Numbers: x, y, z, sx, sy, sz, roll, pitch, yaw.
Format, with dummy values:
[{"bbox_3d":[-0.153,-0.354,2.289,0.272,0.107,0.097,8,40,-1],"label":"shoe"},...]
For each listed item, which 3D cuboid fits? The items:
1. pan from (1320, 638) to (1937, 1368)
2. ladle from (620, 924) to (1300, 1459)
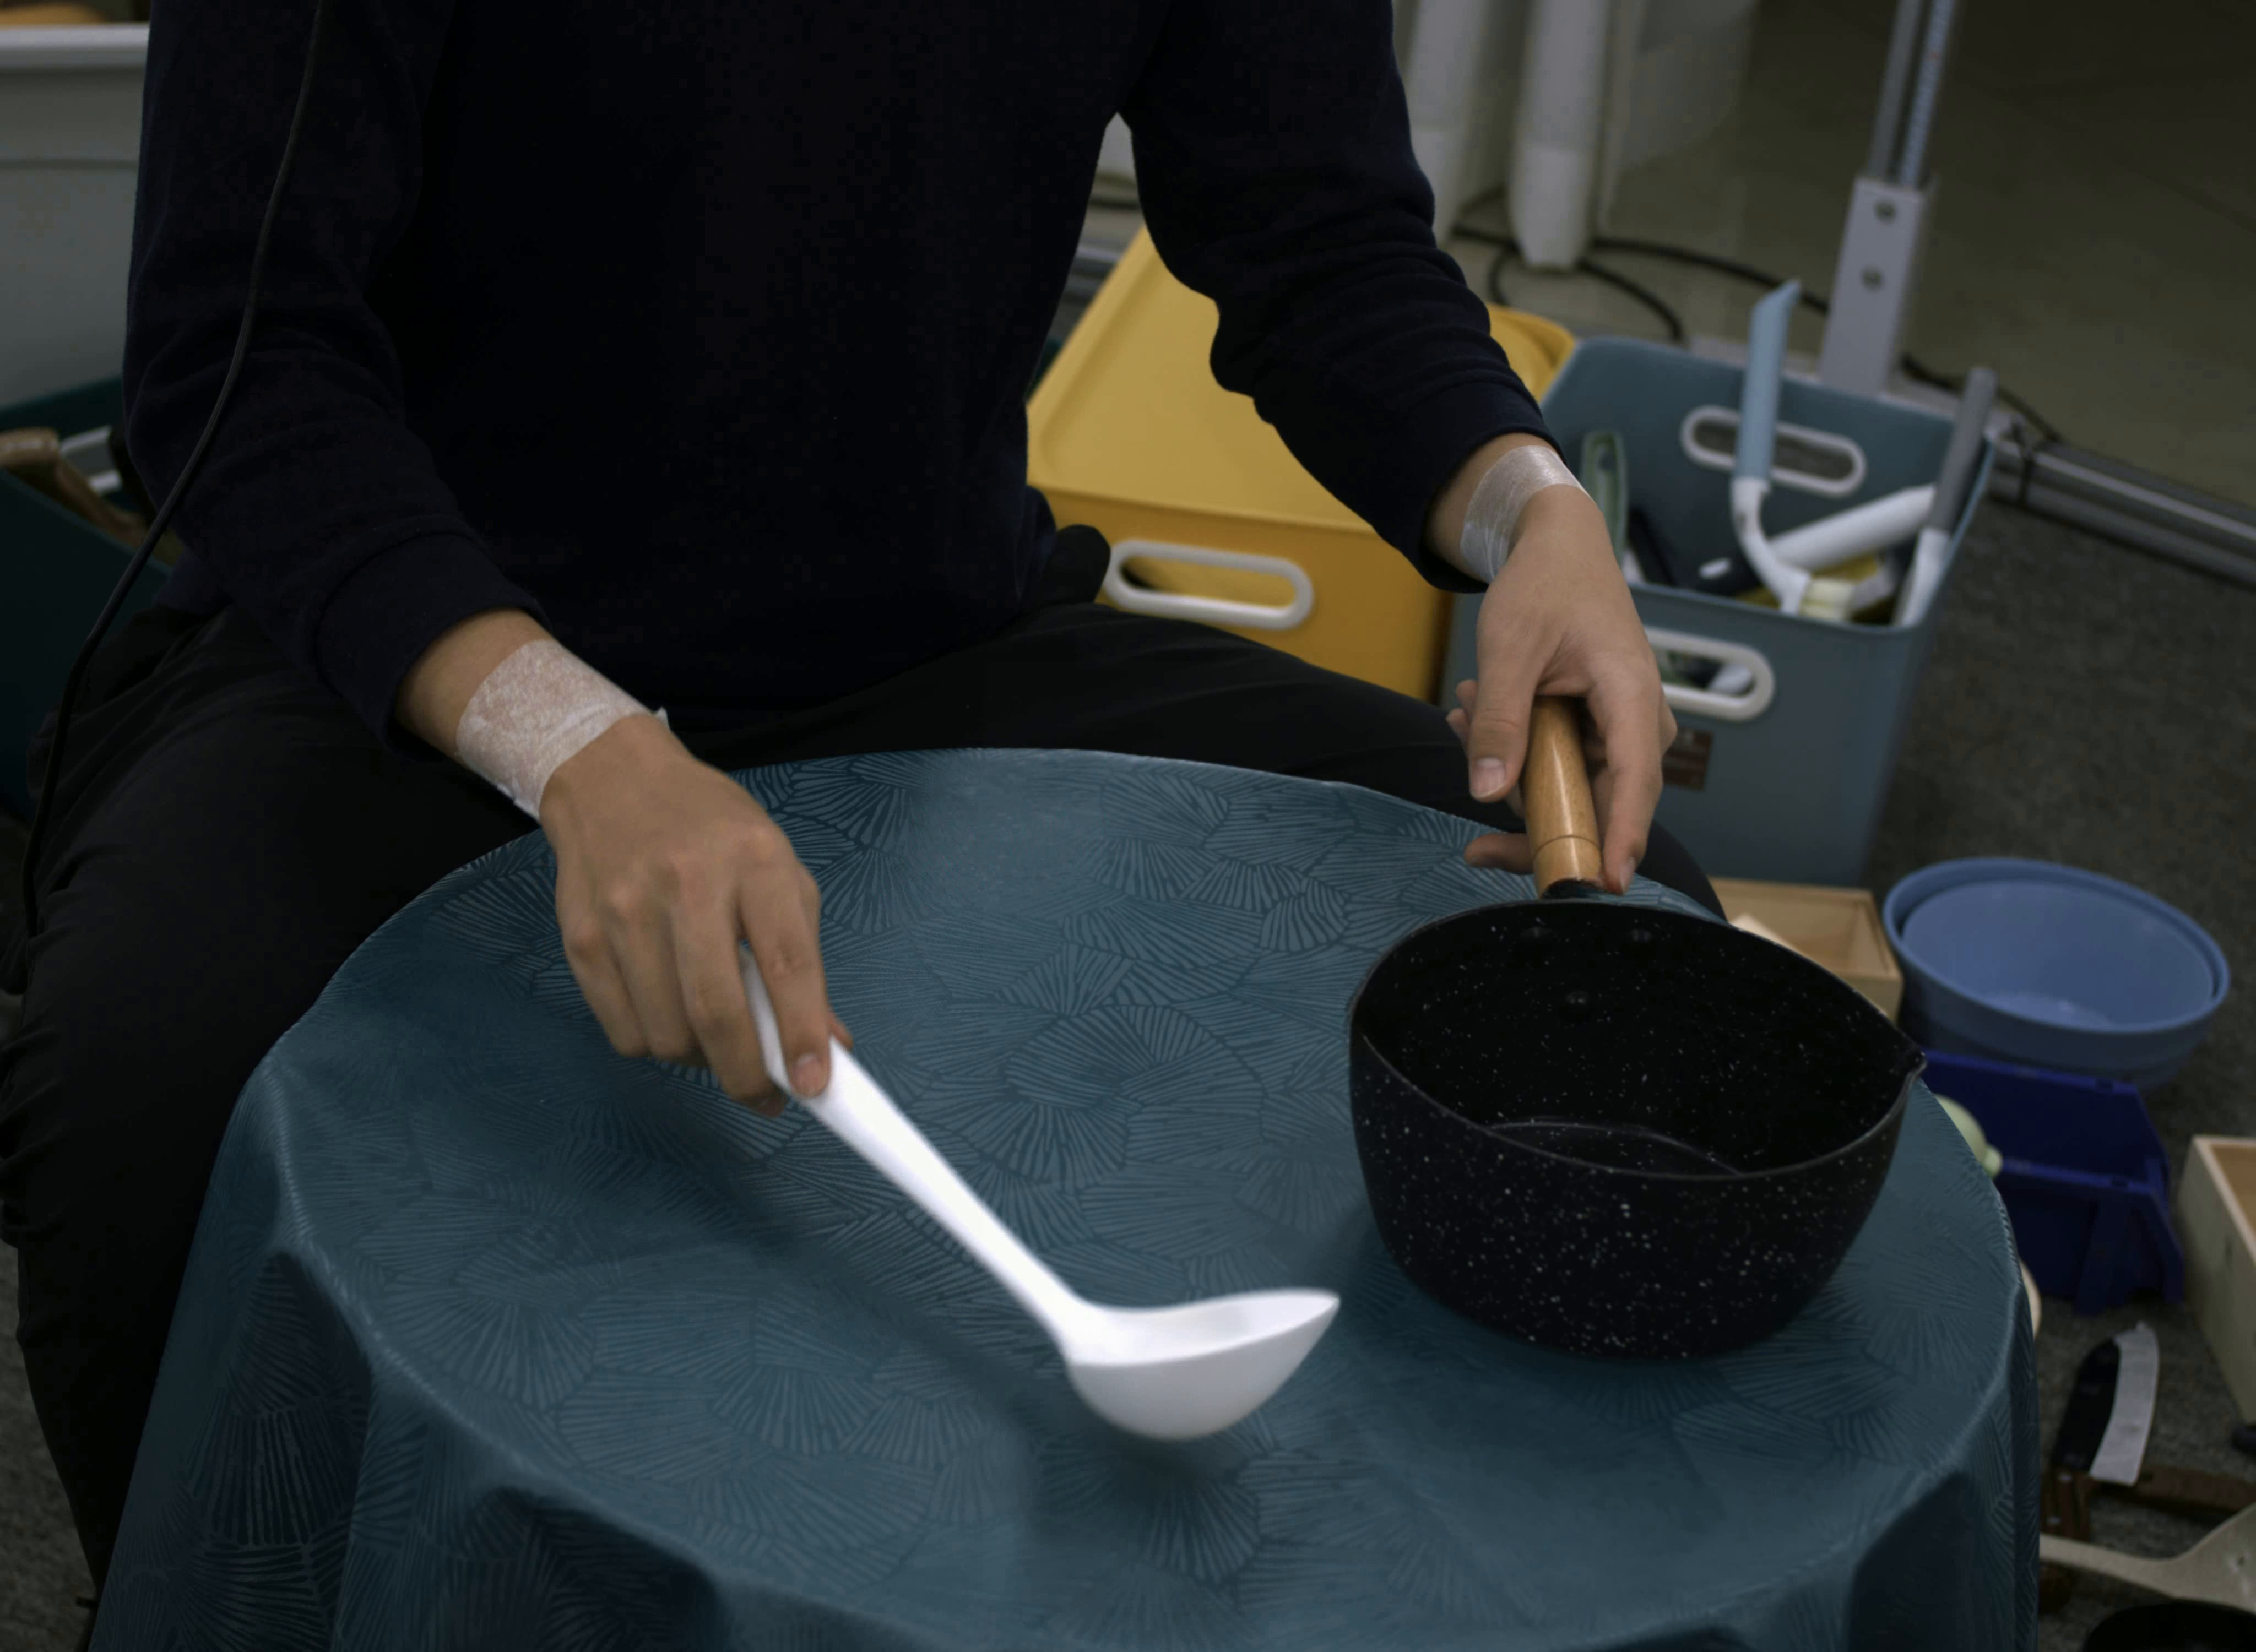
[{"bbox_3d":[0.157,0.058,1.848,0.206,0.108,0.345,2,29,-7],"label":"pan"},{"bbox_3d":[-0.063,0.106,1.696,0.089,0.069,0.295,-19,44,-36],"label":"ladle"}]
